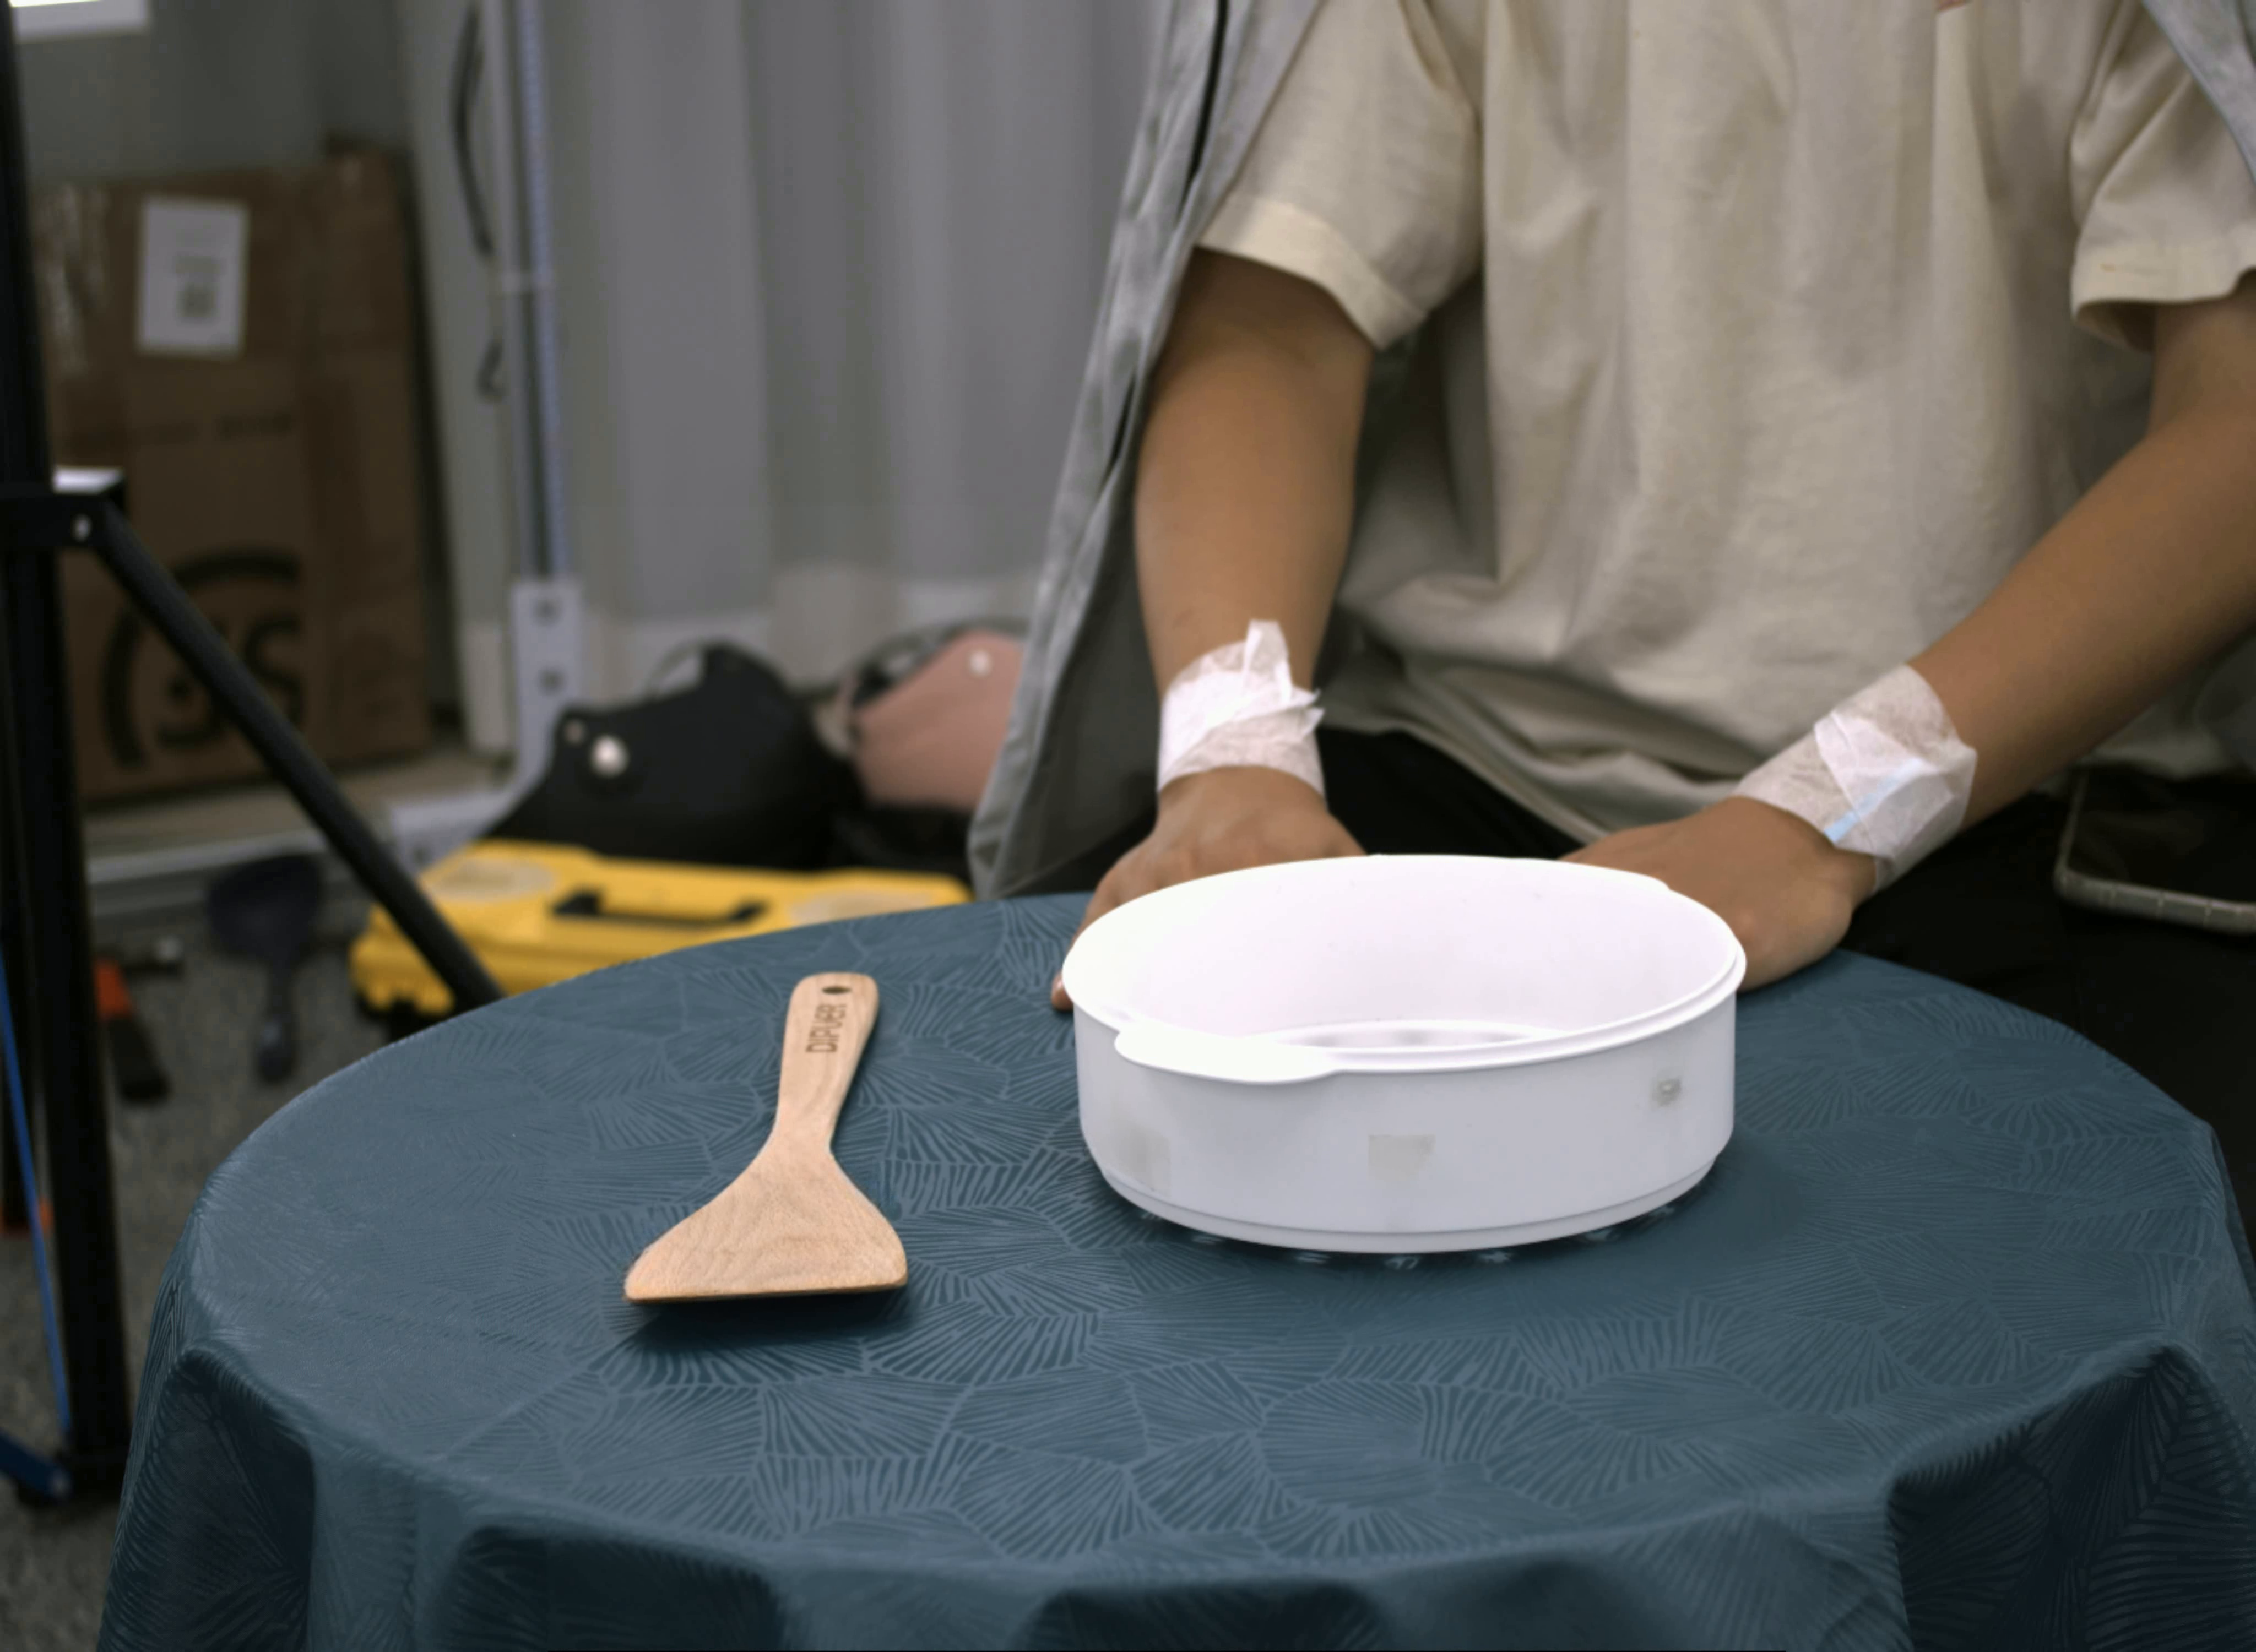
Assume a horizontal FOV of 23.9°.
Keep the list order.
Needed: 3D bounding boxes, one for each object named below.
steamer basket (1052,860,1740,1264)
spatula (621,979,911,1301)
[{"bbox_3d":[0.078,0.069,1.560,0.206,0.069,0.226,10,19,34],"label":"steamer basket"},{"bbox_3d":[-0.099,0.091,1.599,0.079,0.016,0.328,-1,15,1],"label":"spatula"}]
